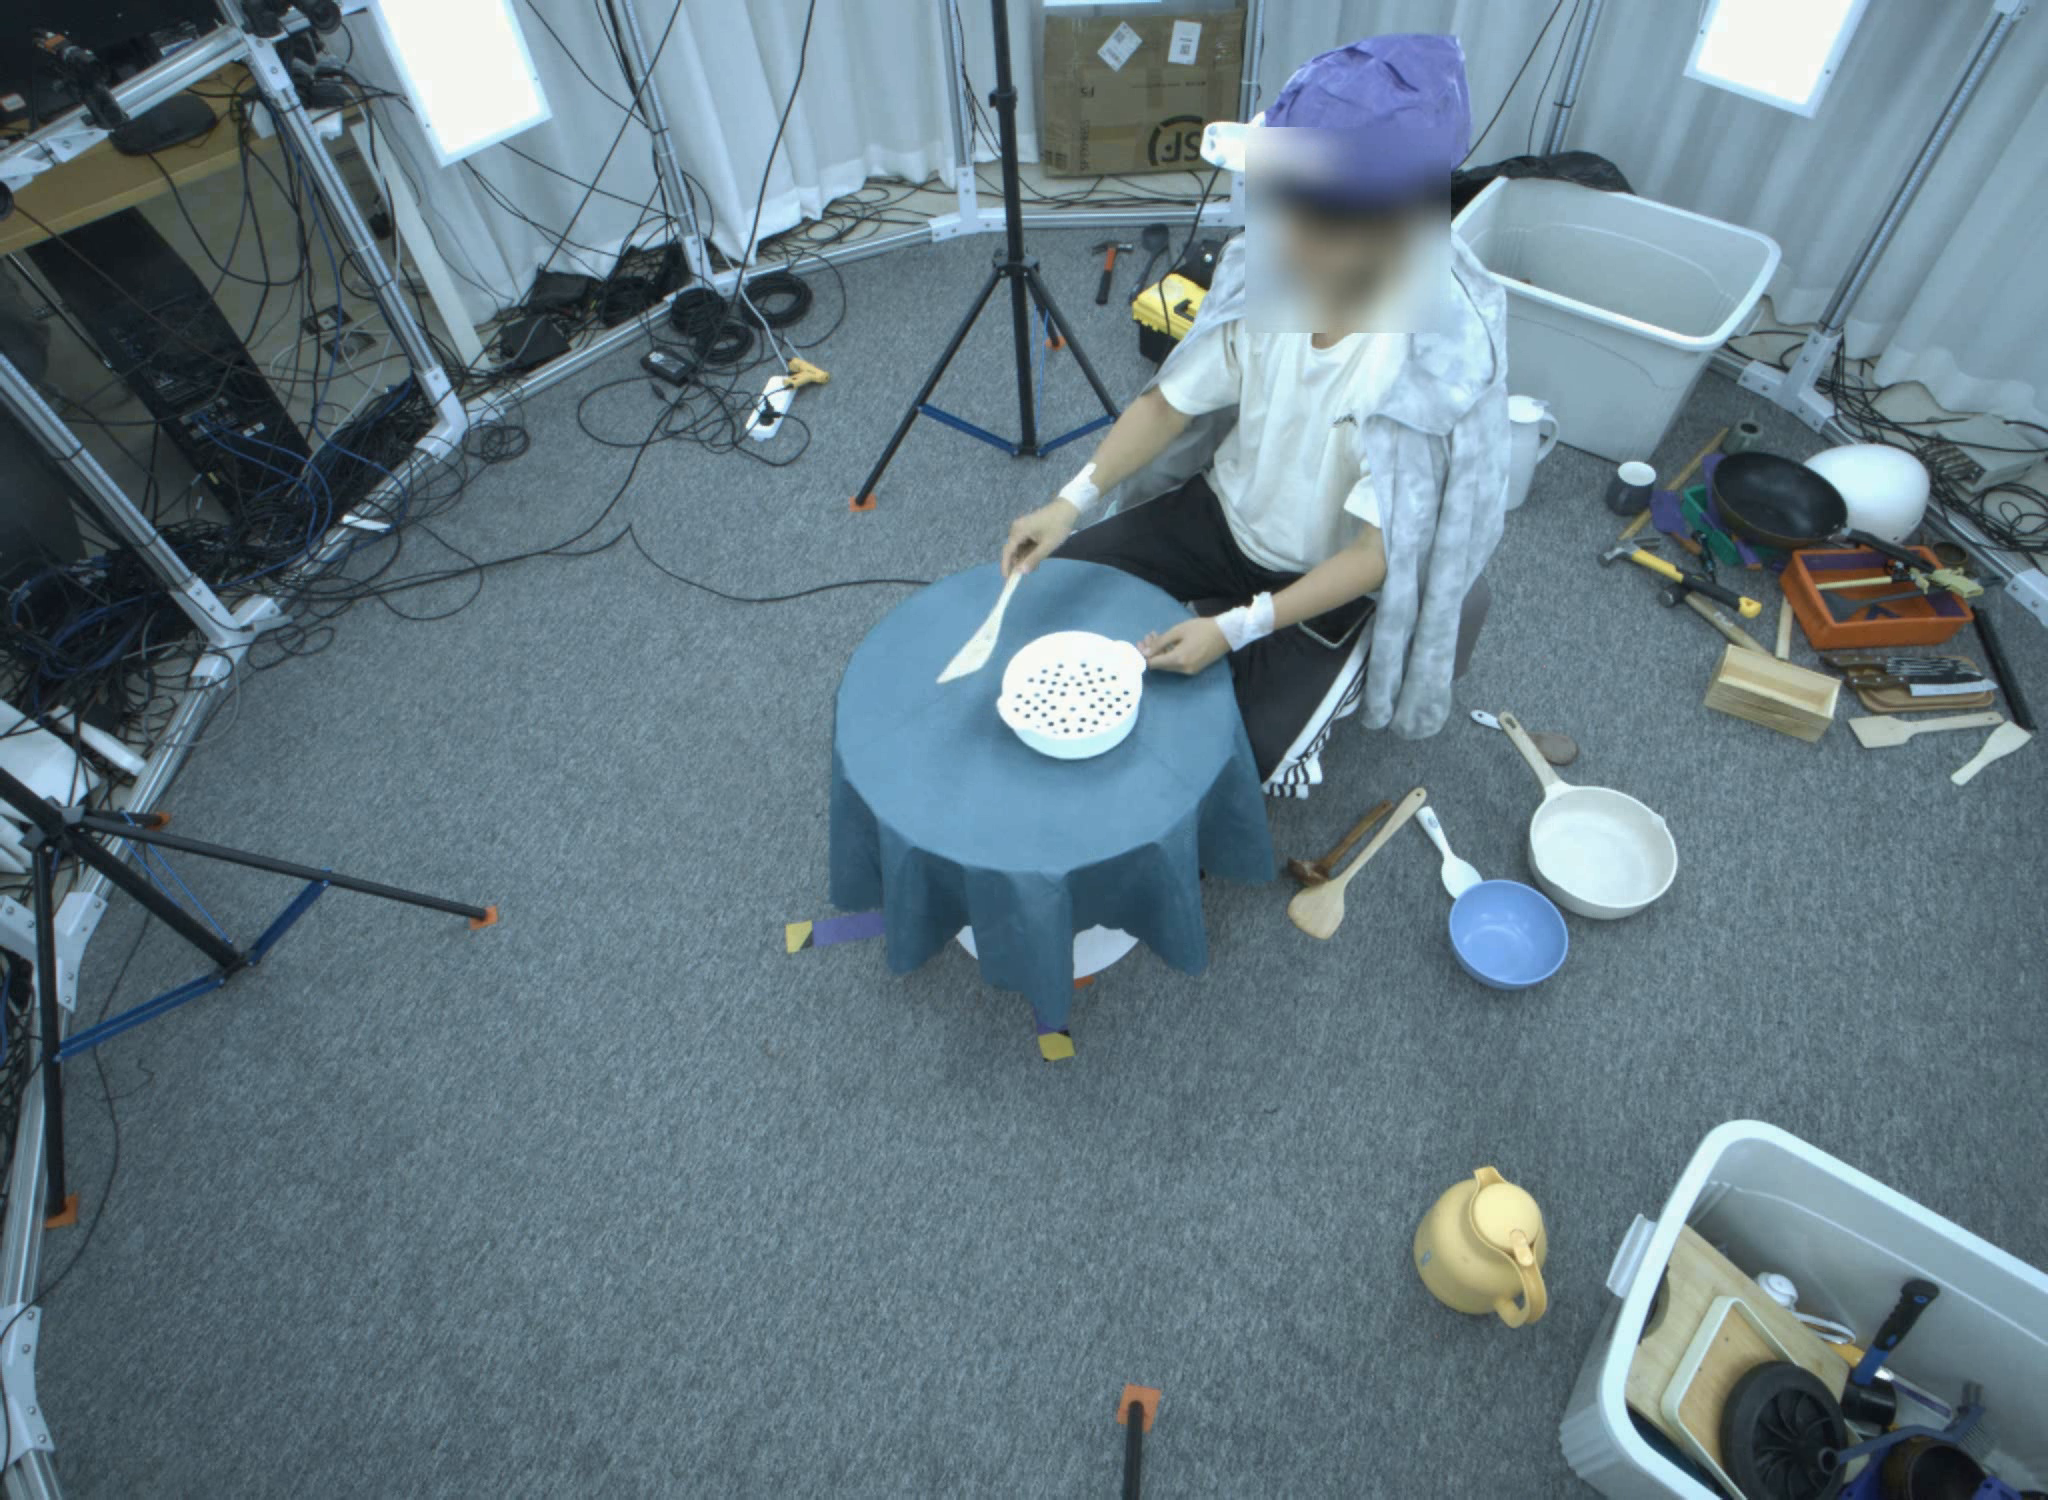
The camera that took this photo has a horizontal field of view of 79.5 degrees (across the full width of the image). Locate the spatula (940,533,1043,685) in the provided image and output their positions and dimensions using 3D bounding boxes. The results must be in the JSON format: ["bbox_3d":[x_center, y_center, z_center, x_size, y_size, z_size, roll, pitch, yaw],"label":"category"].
[{"bbox_3d":[-0.035,-0.217,1.816,0.078,0.017,0.327,-11,42,40],"label":"spatula"}]

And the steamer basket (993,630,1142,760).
[{"bbox_3d":[0.065,-0.079,1.799,0.232,0.070,0.198,-27,60,-14],"label":"steamer basket"}]
